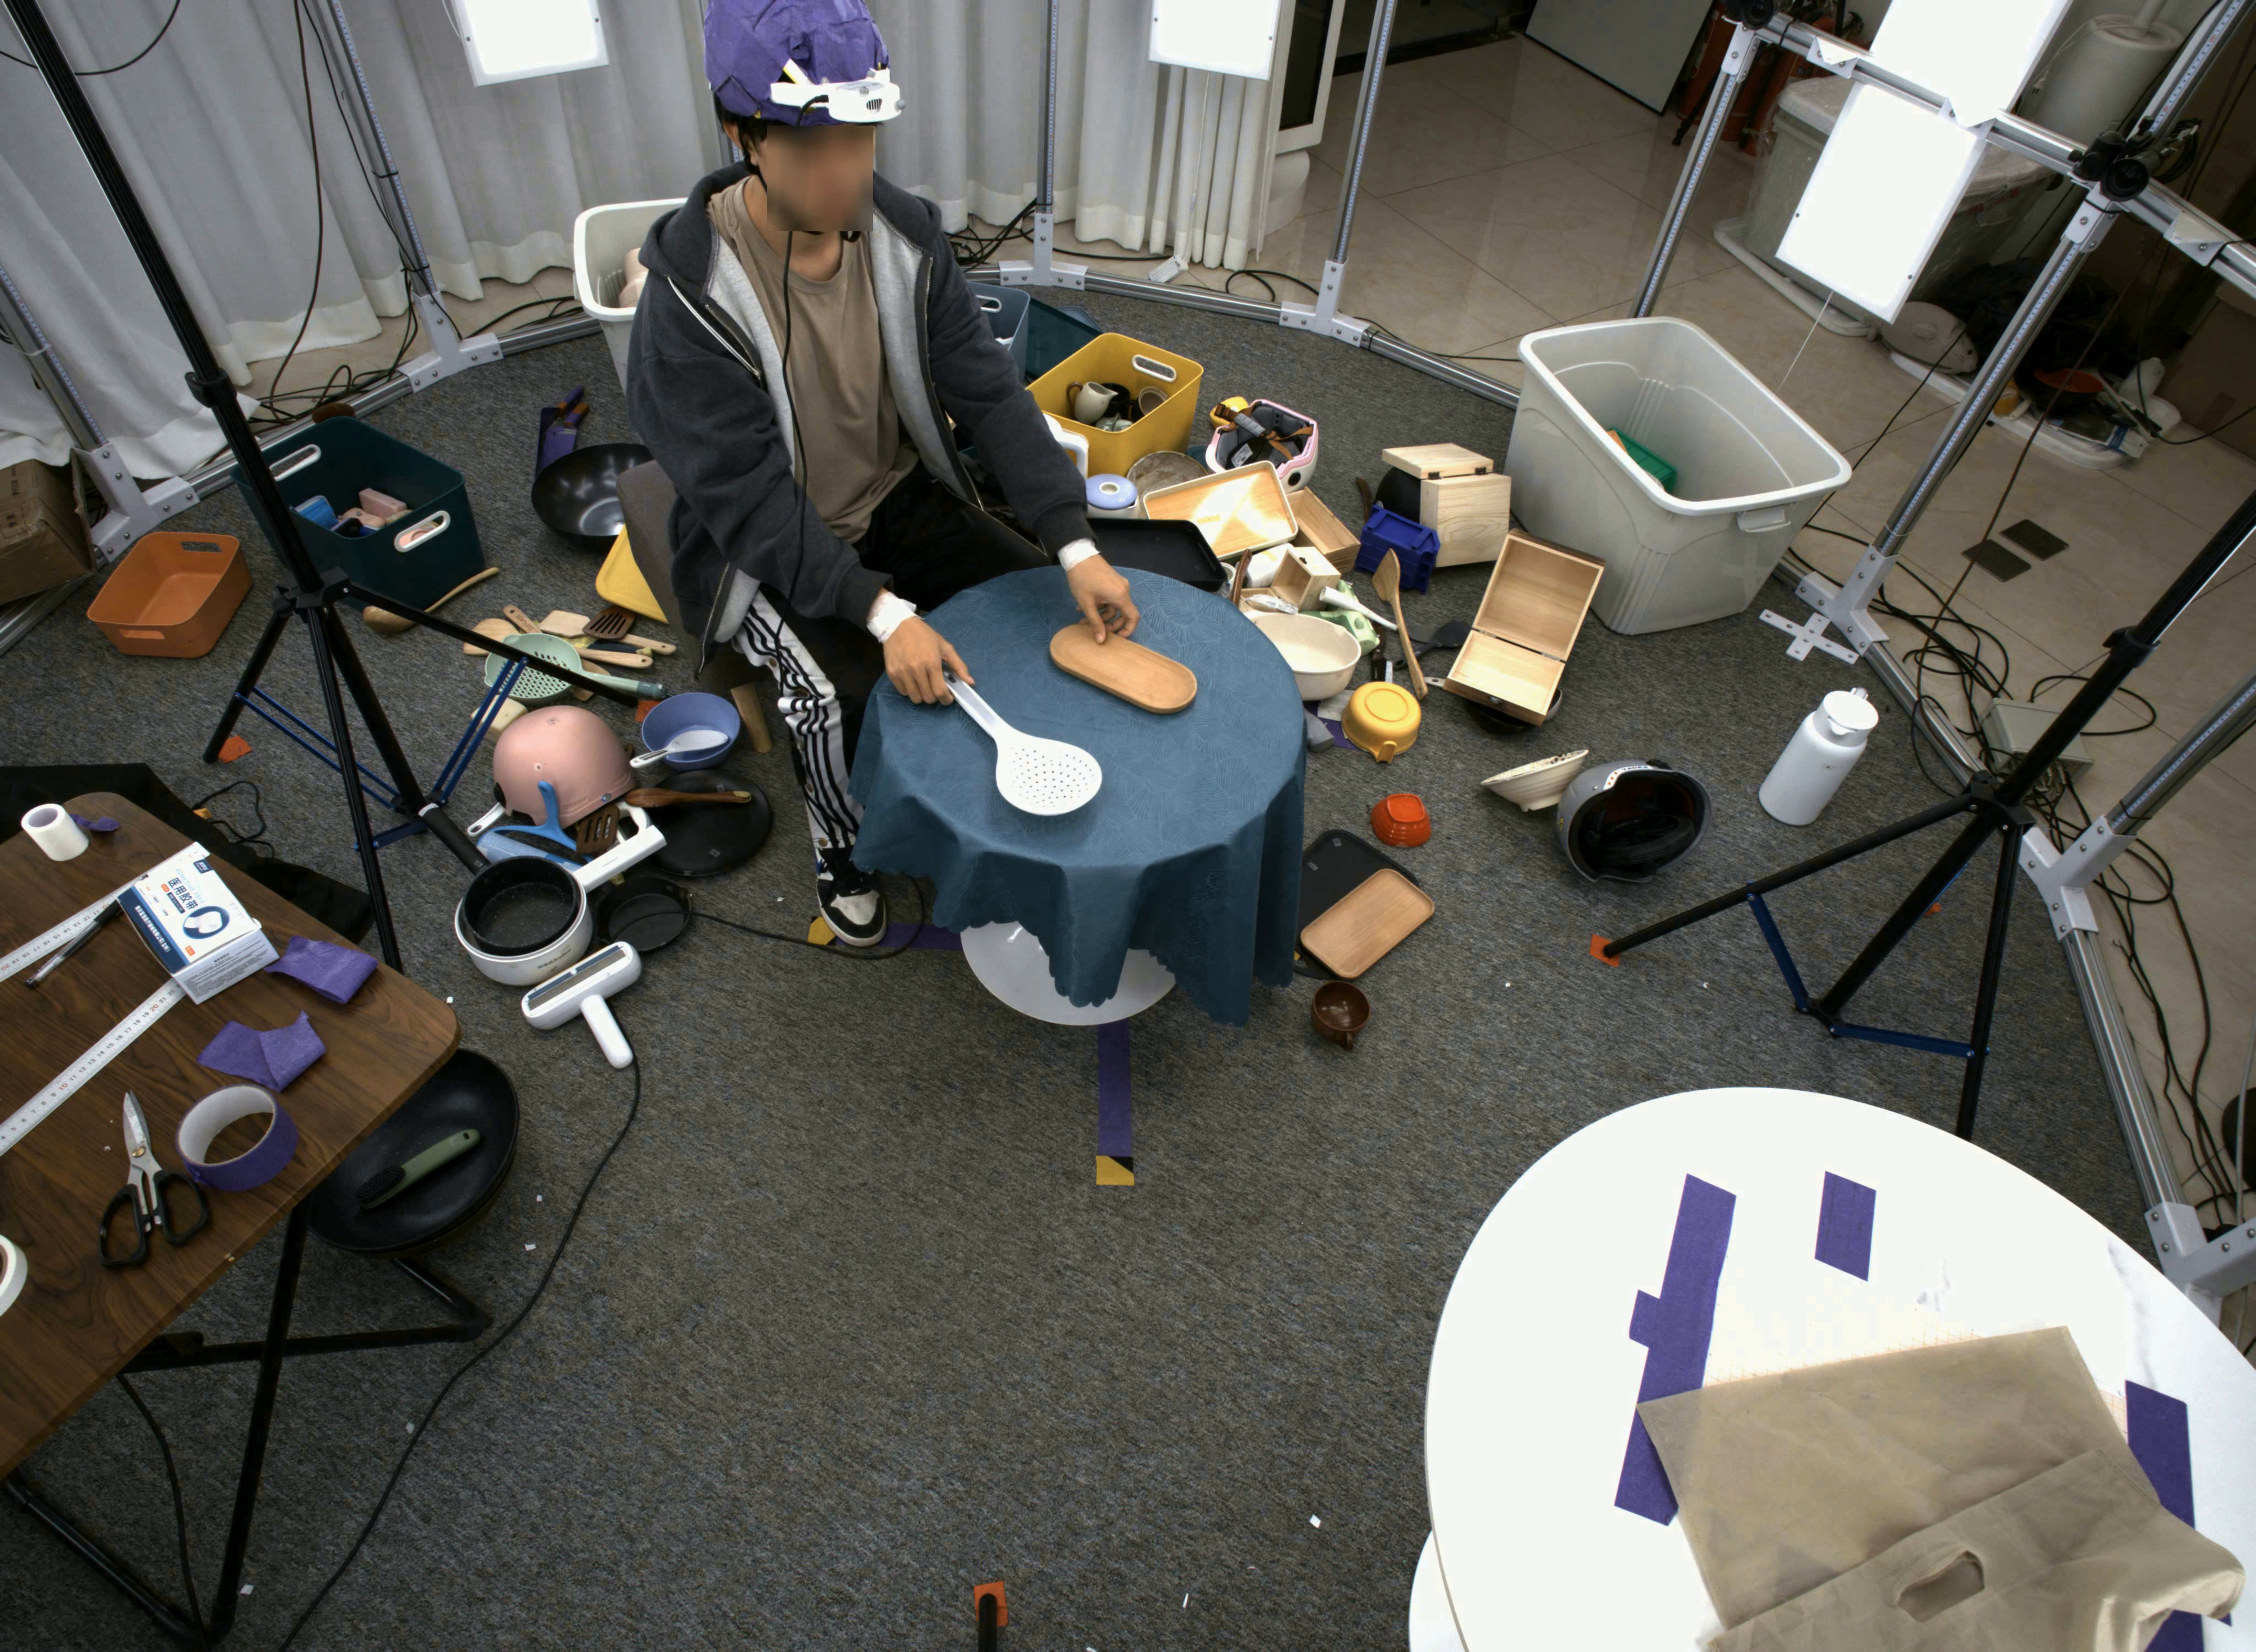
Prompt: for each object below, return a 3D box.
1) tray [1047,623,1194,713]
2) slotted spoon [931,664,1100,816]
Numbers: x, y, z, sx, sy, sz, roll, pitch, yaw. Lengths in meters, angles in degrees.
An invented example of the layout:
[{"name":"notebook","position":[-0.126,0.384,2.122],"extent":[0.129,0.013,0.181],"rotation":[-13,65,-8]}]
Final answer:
[{"name":"tray","position":[-0.012,-0.229,1.854],"extent":[0.233,0.020,0.103],"rotation":[27,51,19]},{"name":"slotted spoon","position":[-0.168,-0.122,1.730],"extent":[0.136,0.044,0.356],"rotation":[-25,54,-26]}]
